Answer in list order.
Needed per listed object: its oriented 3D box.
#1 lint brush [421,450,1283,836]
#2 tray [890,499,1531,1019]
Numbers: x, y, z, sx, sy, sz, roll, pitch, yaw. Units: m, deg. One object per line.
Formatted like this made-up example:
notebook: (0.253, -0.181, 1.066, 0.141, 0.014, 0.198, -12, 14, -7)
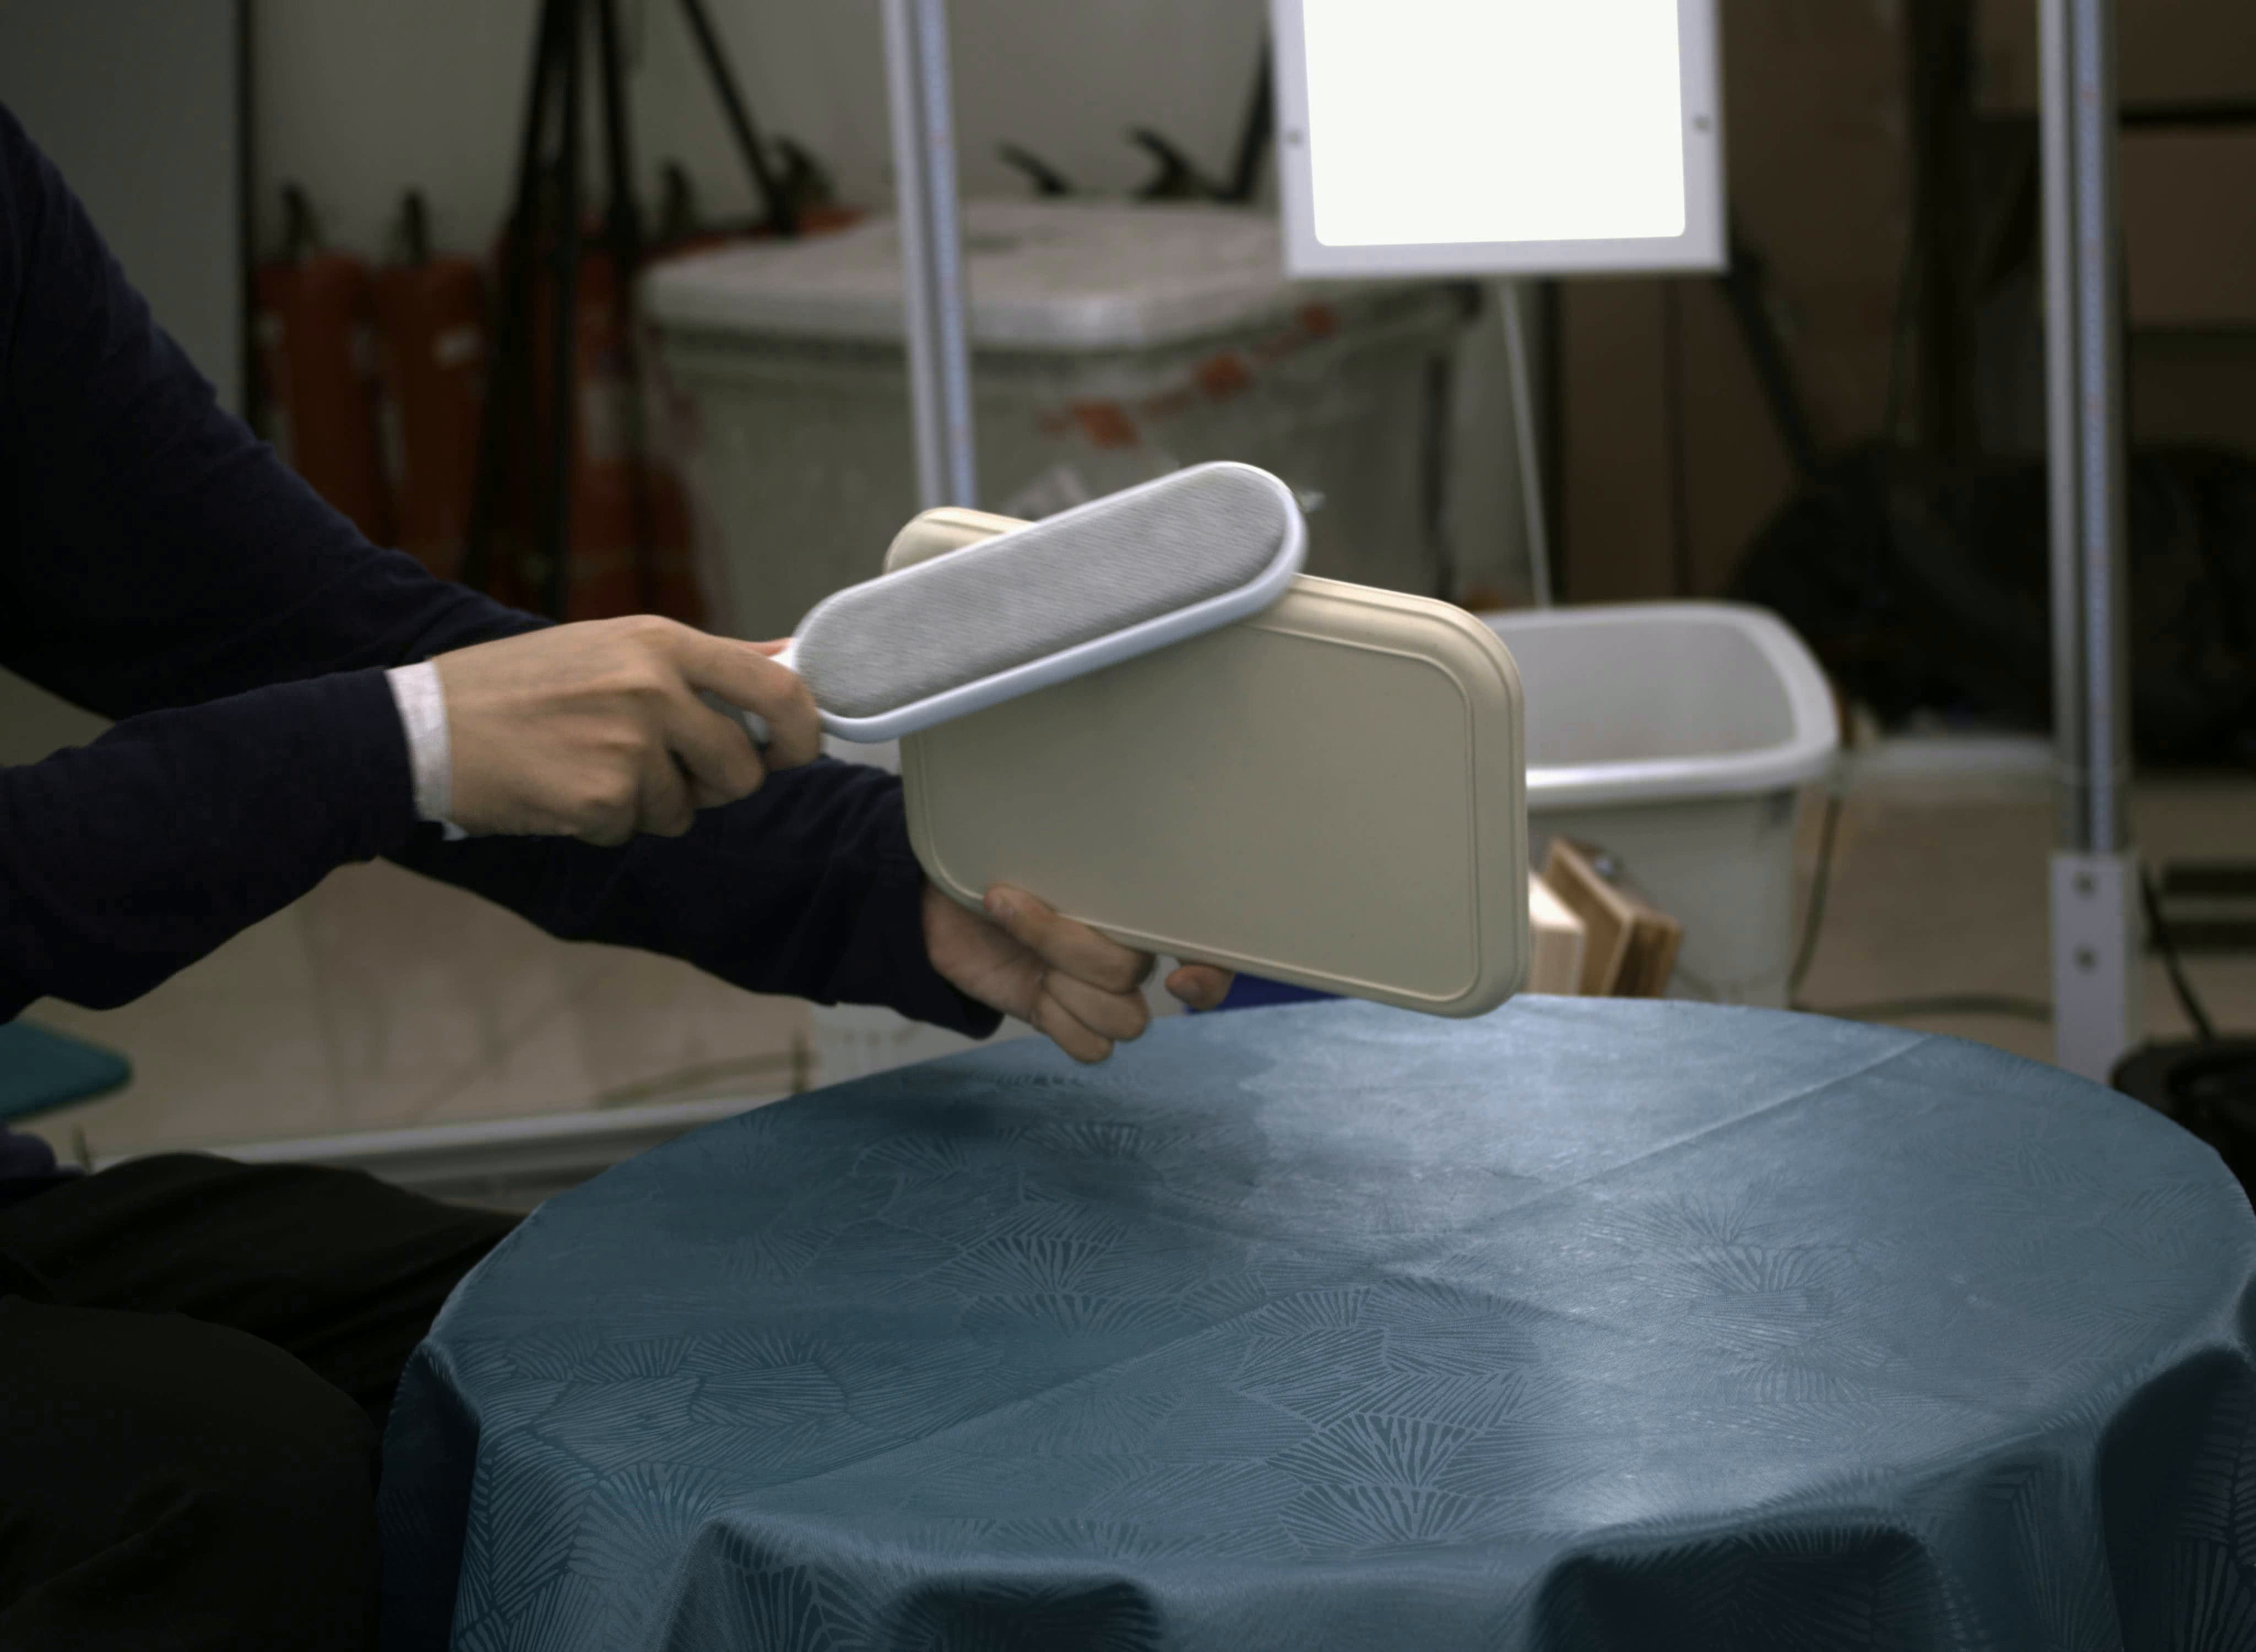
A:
lint brush: (-0.094, -0.058, 1.854, 0.310, 0.060, 0.021, -20, -26, 6)
tray: (0.026, -0.020, 1.898, 0.243, 0.172, 0.017, 13, 38, 24)
